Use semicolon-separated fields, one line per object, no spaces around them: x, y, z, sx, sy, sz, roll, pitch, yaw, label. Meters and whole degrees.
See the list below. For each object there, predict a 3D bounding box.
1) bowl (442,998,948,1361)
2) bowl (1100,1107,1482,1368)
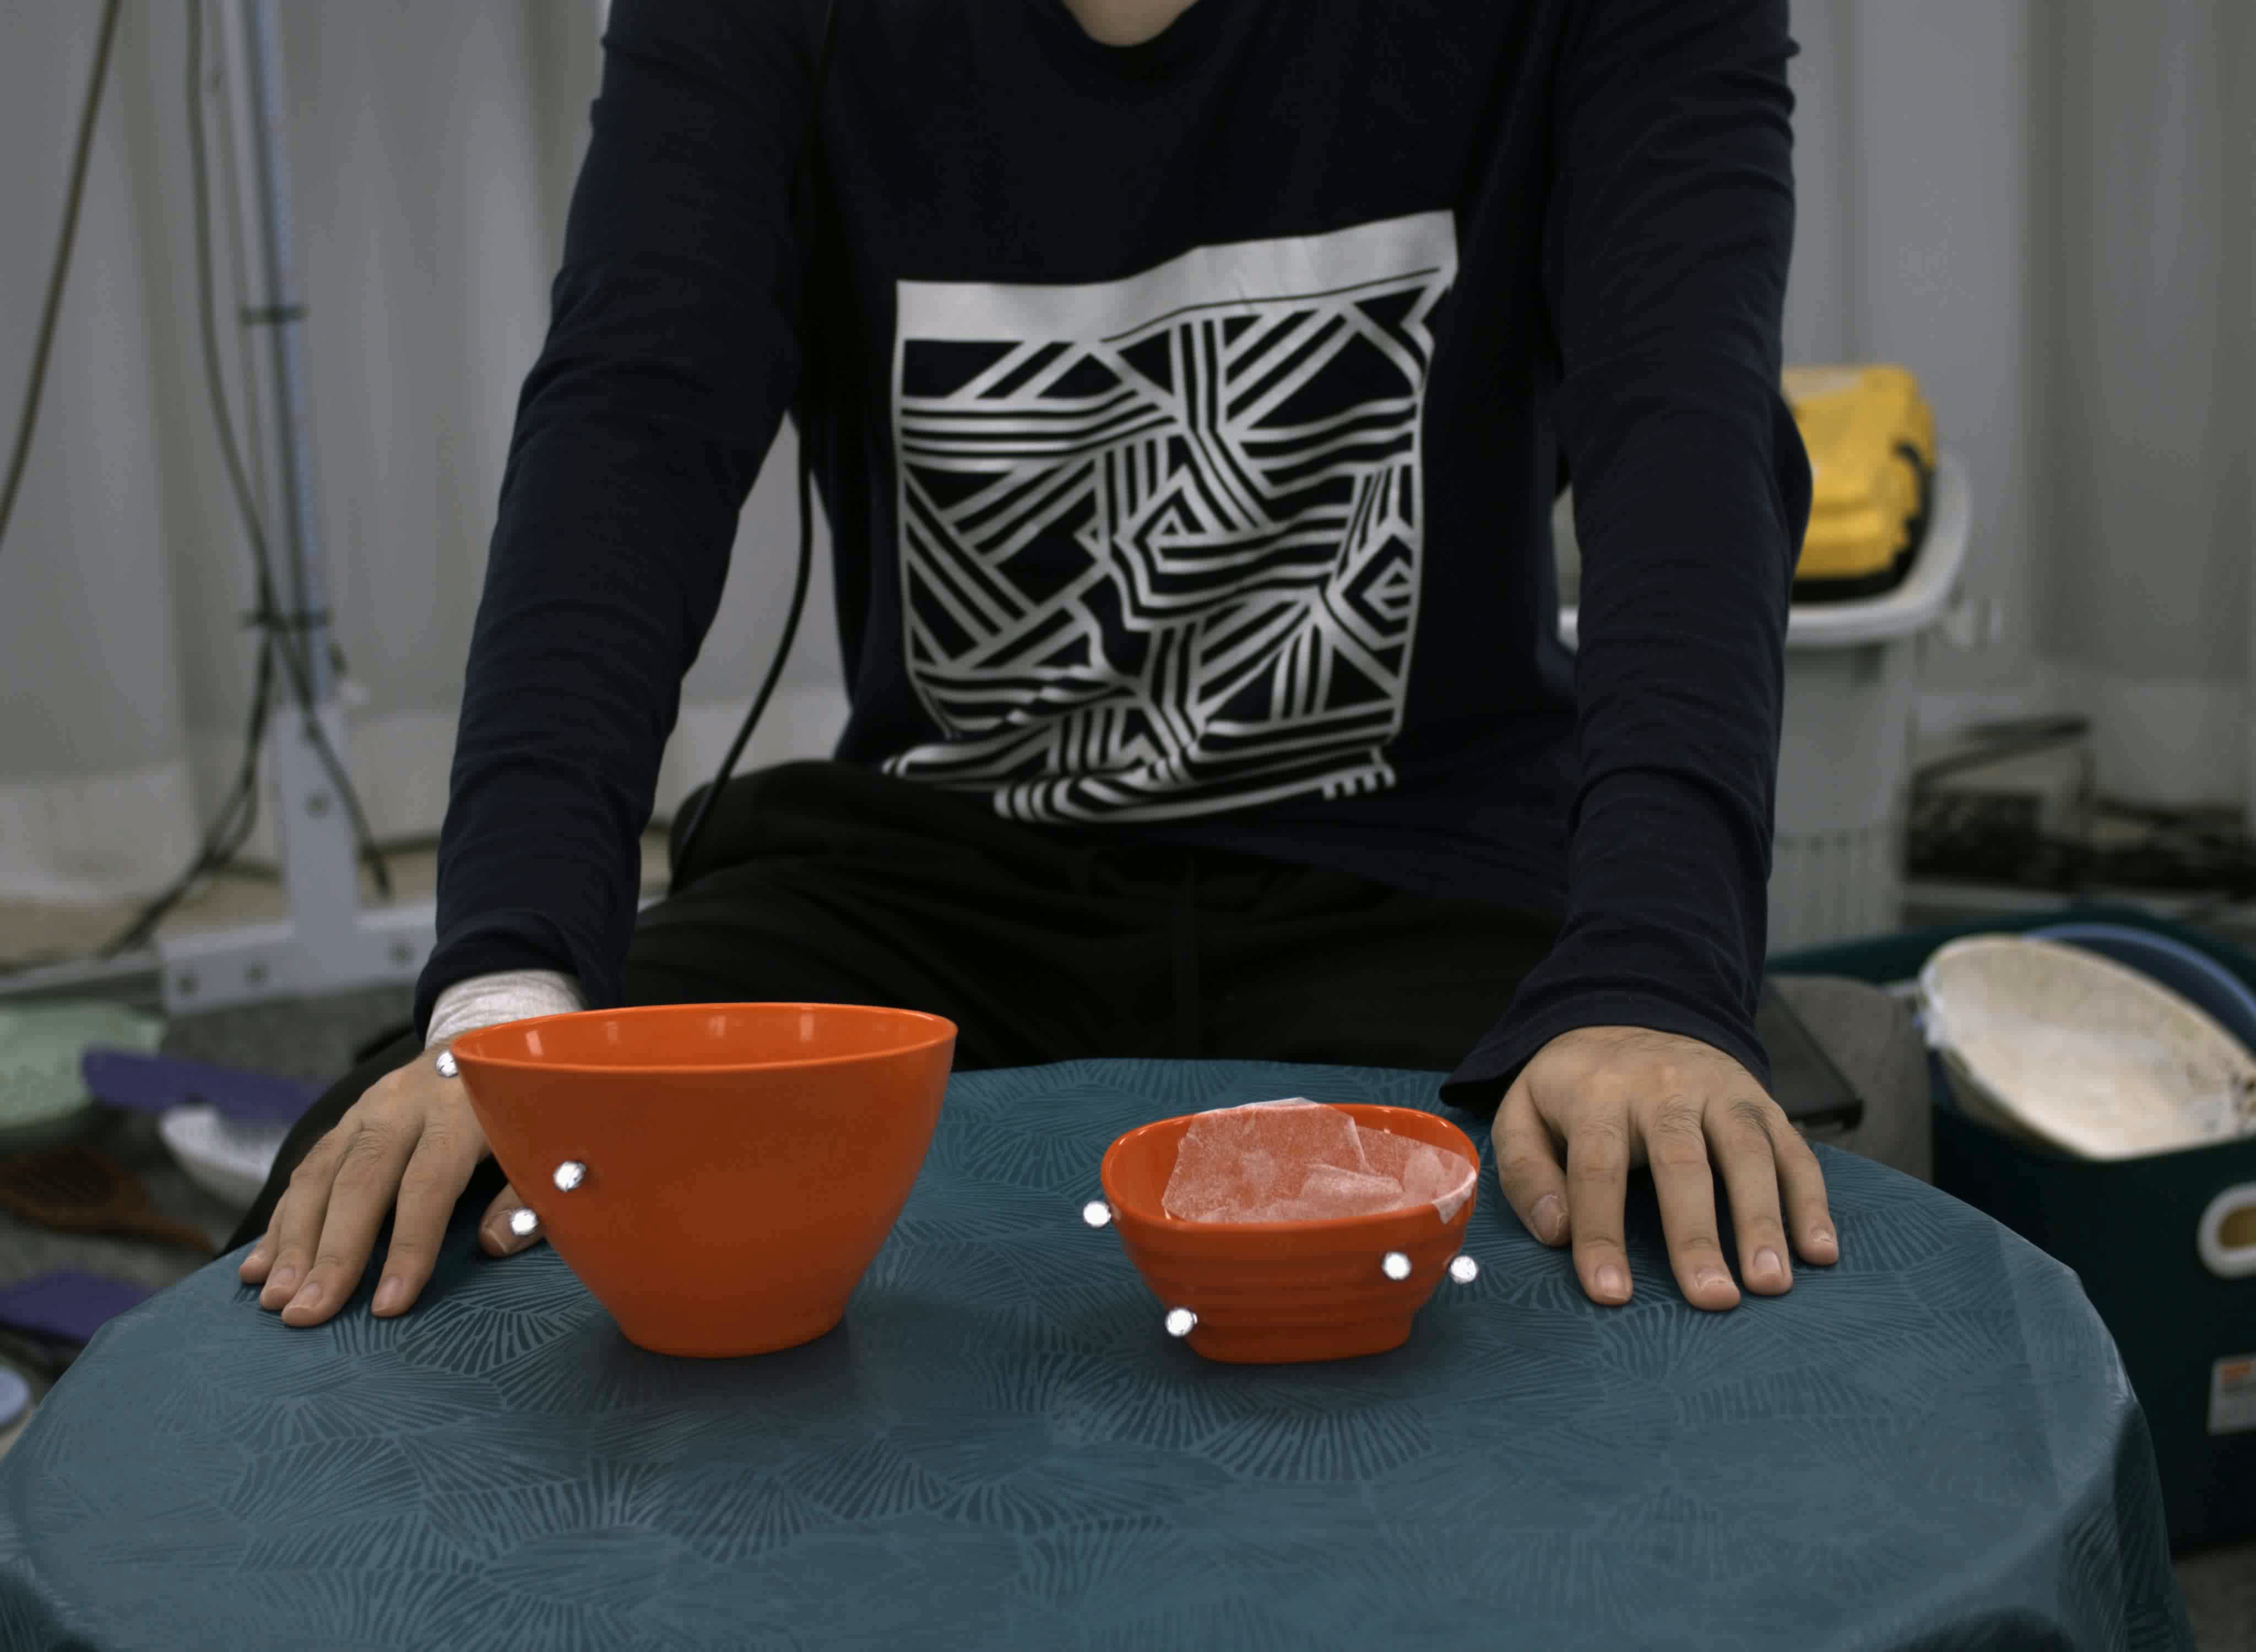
-0.123;0.101;1.599;0.147;0.104;0.149;-3;14;1;bowl
0.048;0.122;1.588;0.118;0.051;0.119;-4;13;1;bowl
